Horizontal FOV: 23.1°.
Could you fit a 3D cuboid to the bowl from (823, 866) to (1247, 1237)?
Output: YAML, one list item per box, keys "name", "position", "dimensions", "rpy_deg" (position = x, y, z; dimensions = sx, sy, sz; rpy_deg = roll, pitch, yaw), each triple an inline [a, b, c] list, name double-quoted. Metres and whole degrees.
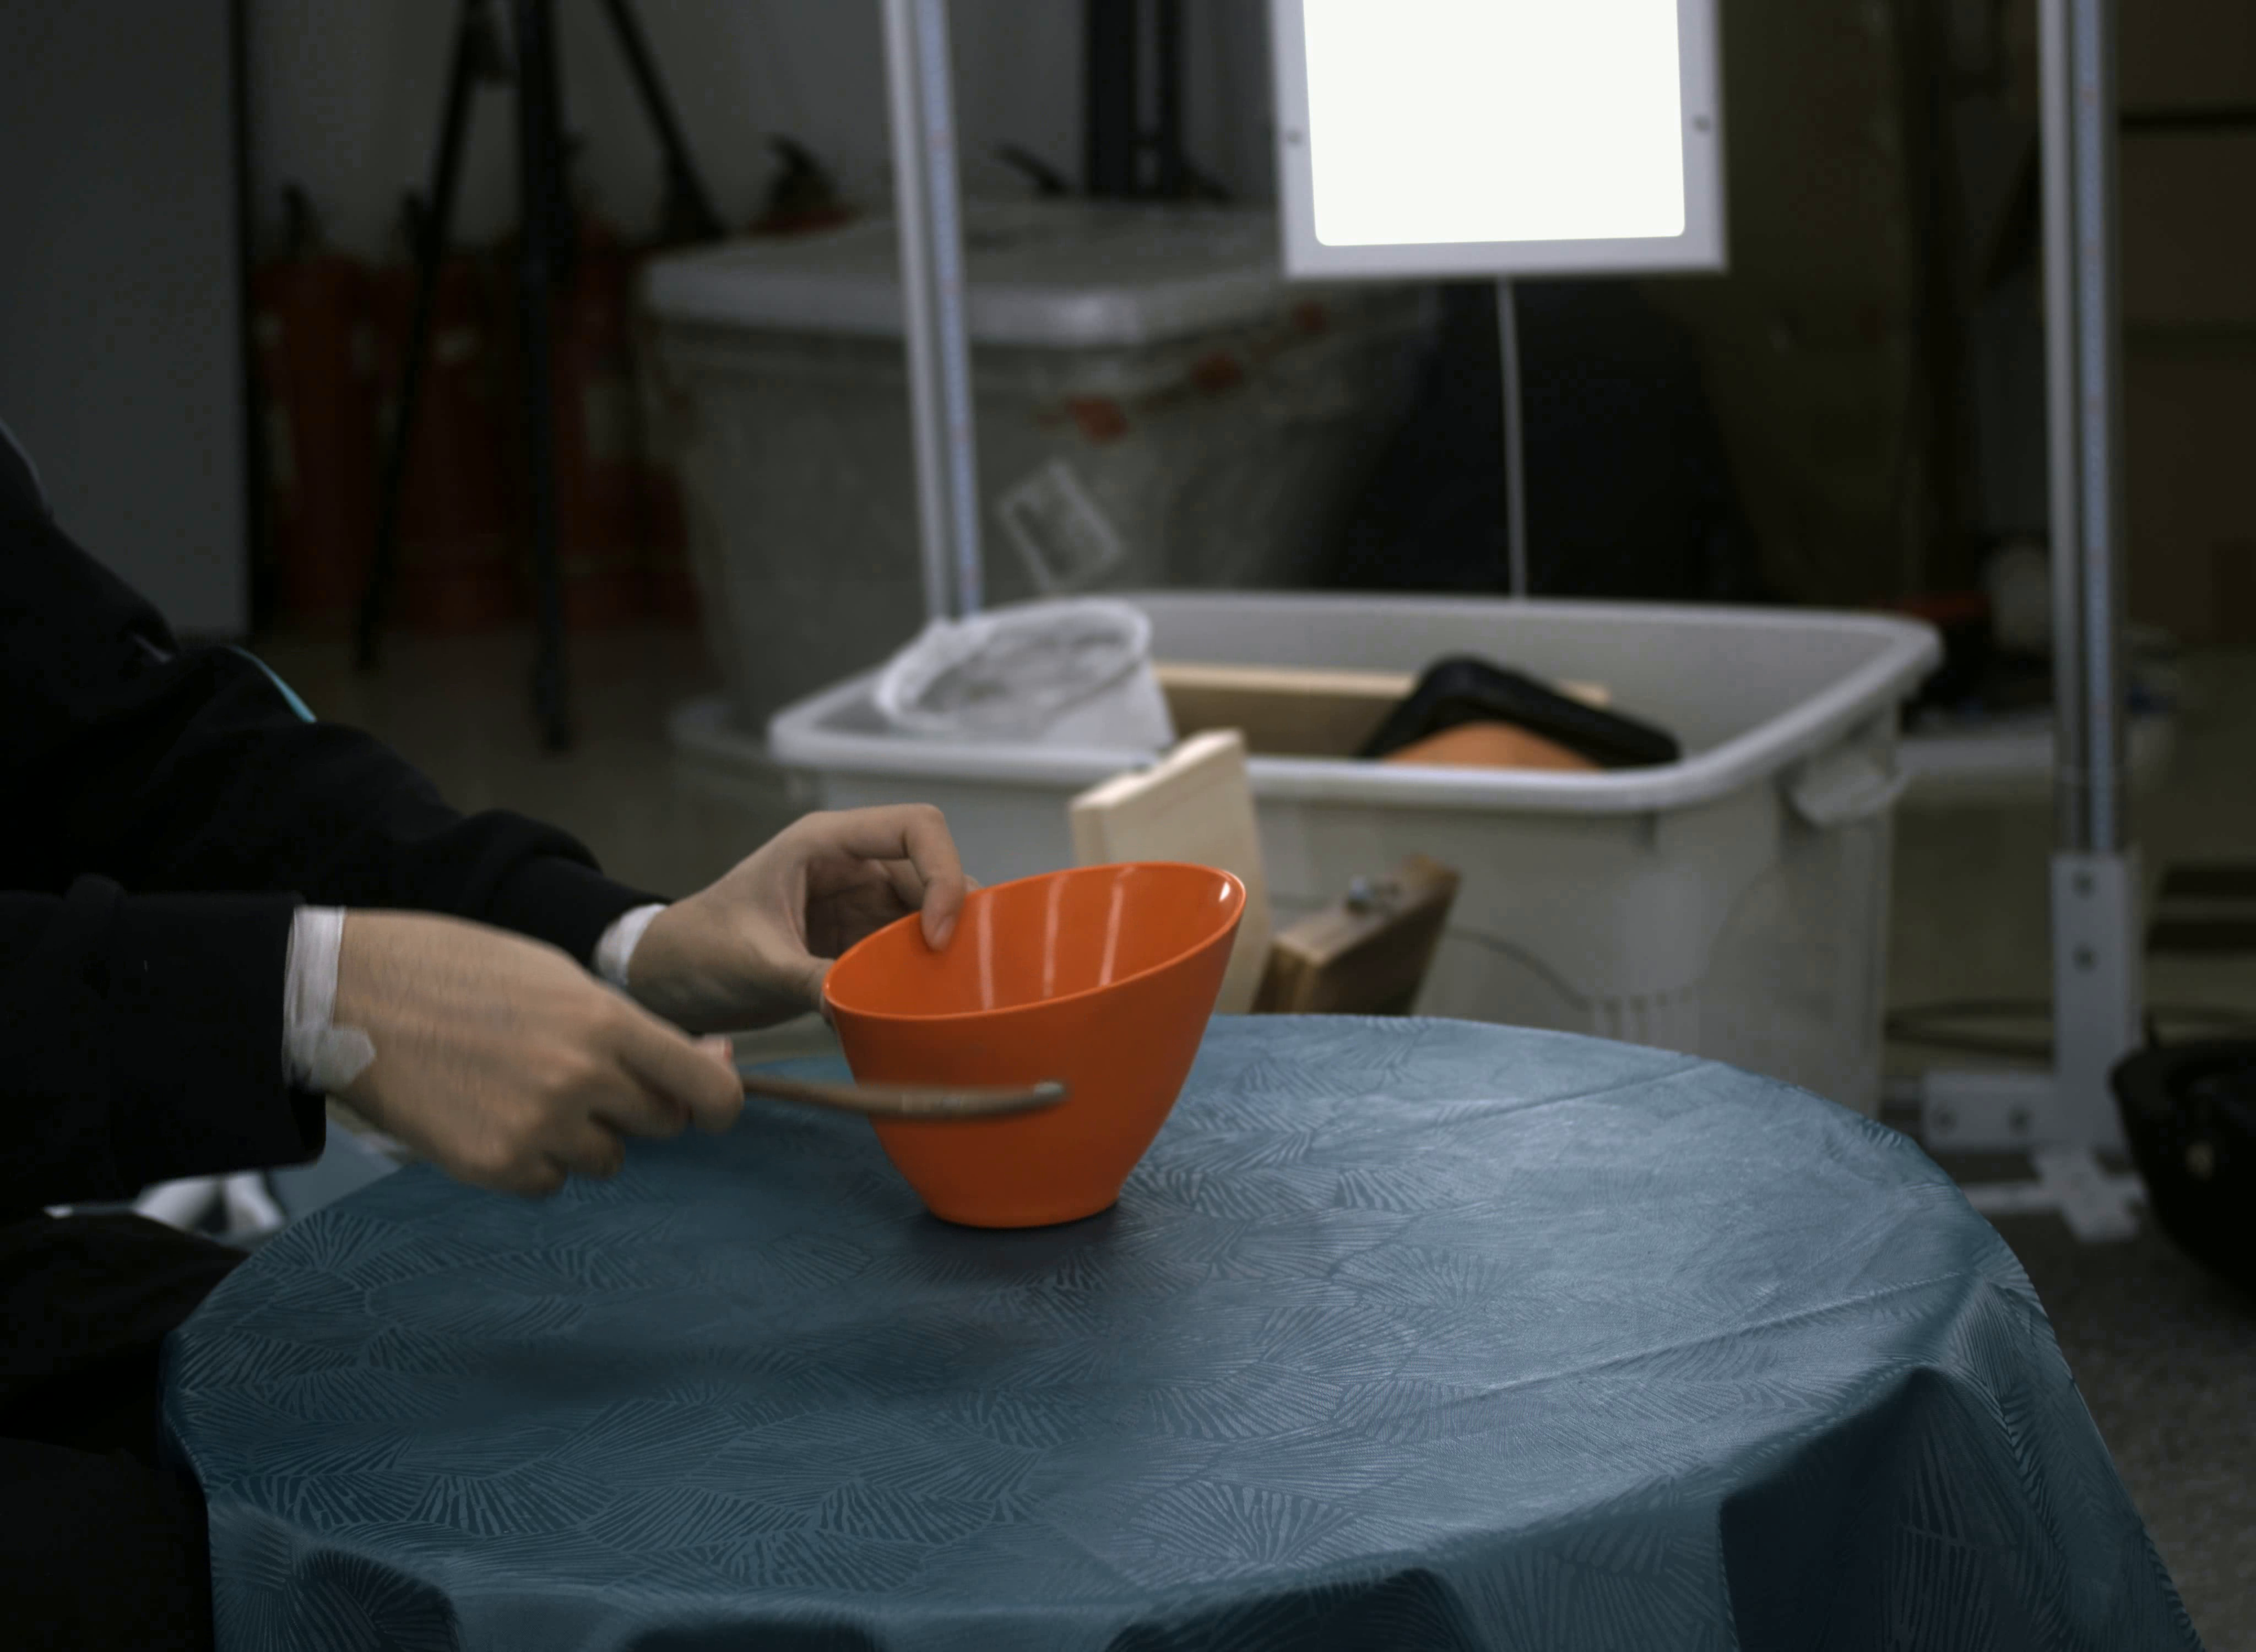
- name: "bowl"
  position: [-0.028, 0.080, 1.887]
  dimensions: [0.147, 0.105, 0.148]
  rpy_deg: [-5, 13, 0]

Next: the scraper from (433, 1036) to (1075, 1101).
- name: "scraper"
  position: [-0.122, 0.077, 1.770]
  dimensions: [0.213, 0.011, 0.075]
  rpy_deg: [3, 2, 17]
